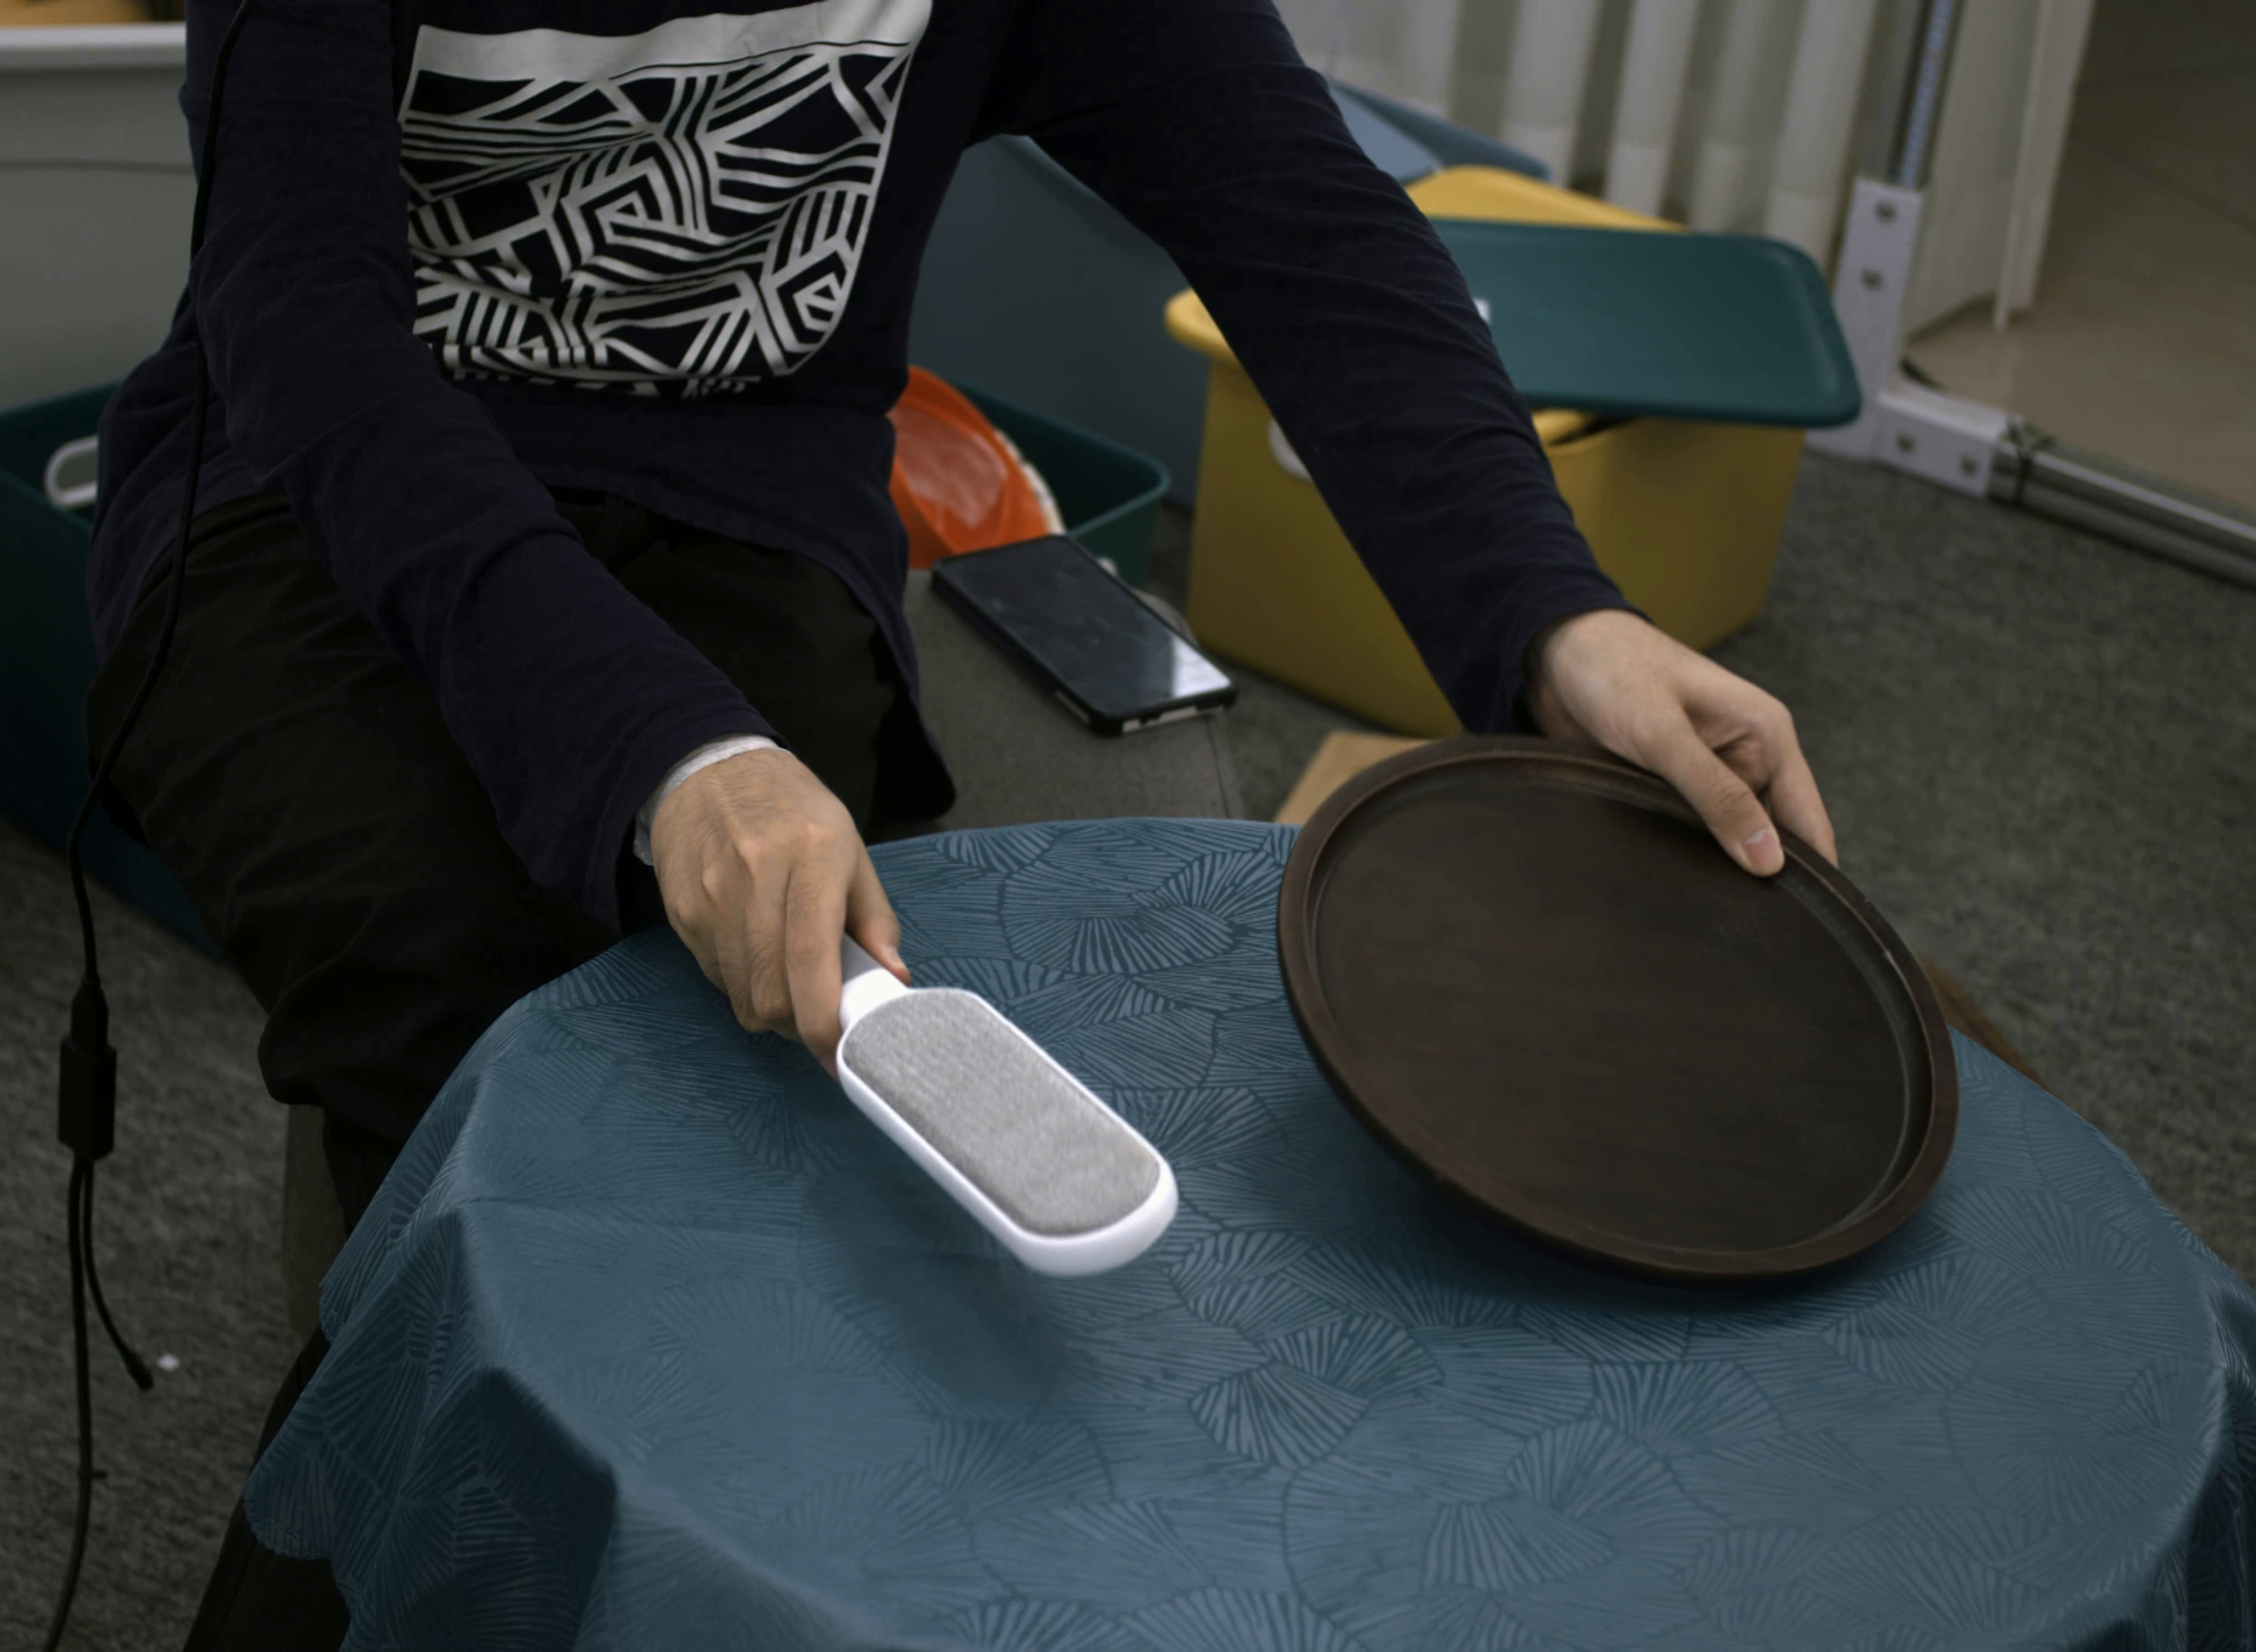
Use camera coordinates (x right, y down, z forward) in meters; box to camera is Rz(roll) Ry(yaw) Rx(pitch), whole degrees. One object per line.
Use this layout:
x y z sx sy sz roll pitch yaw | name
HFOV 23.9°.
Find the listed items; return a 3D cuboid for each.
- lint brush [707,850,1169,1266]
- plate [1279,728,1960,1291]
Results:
-0.071 0.071 1.781 0.060 0.021 0.311 -31 33 -14 | lint brush
0.170 0.062 1.853 0.253 0.029 0.257 14 42 -13 | plate
